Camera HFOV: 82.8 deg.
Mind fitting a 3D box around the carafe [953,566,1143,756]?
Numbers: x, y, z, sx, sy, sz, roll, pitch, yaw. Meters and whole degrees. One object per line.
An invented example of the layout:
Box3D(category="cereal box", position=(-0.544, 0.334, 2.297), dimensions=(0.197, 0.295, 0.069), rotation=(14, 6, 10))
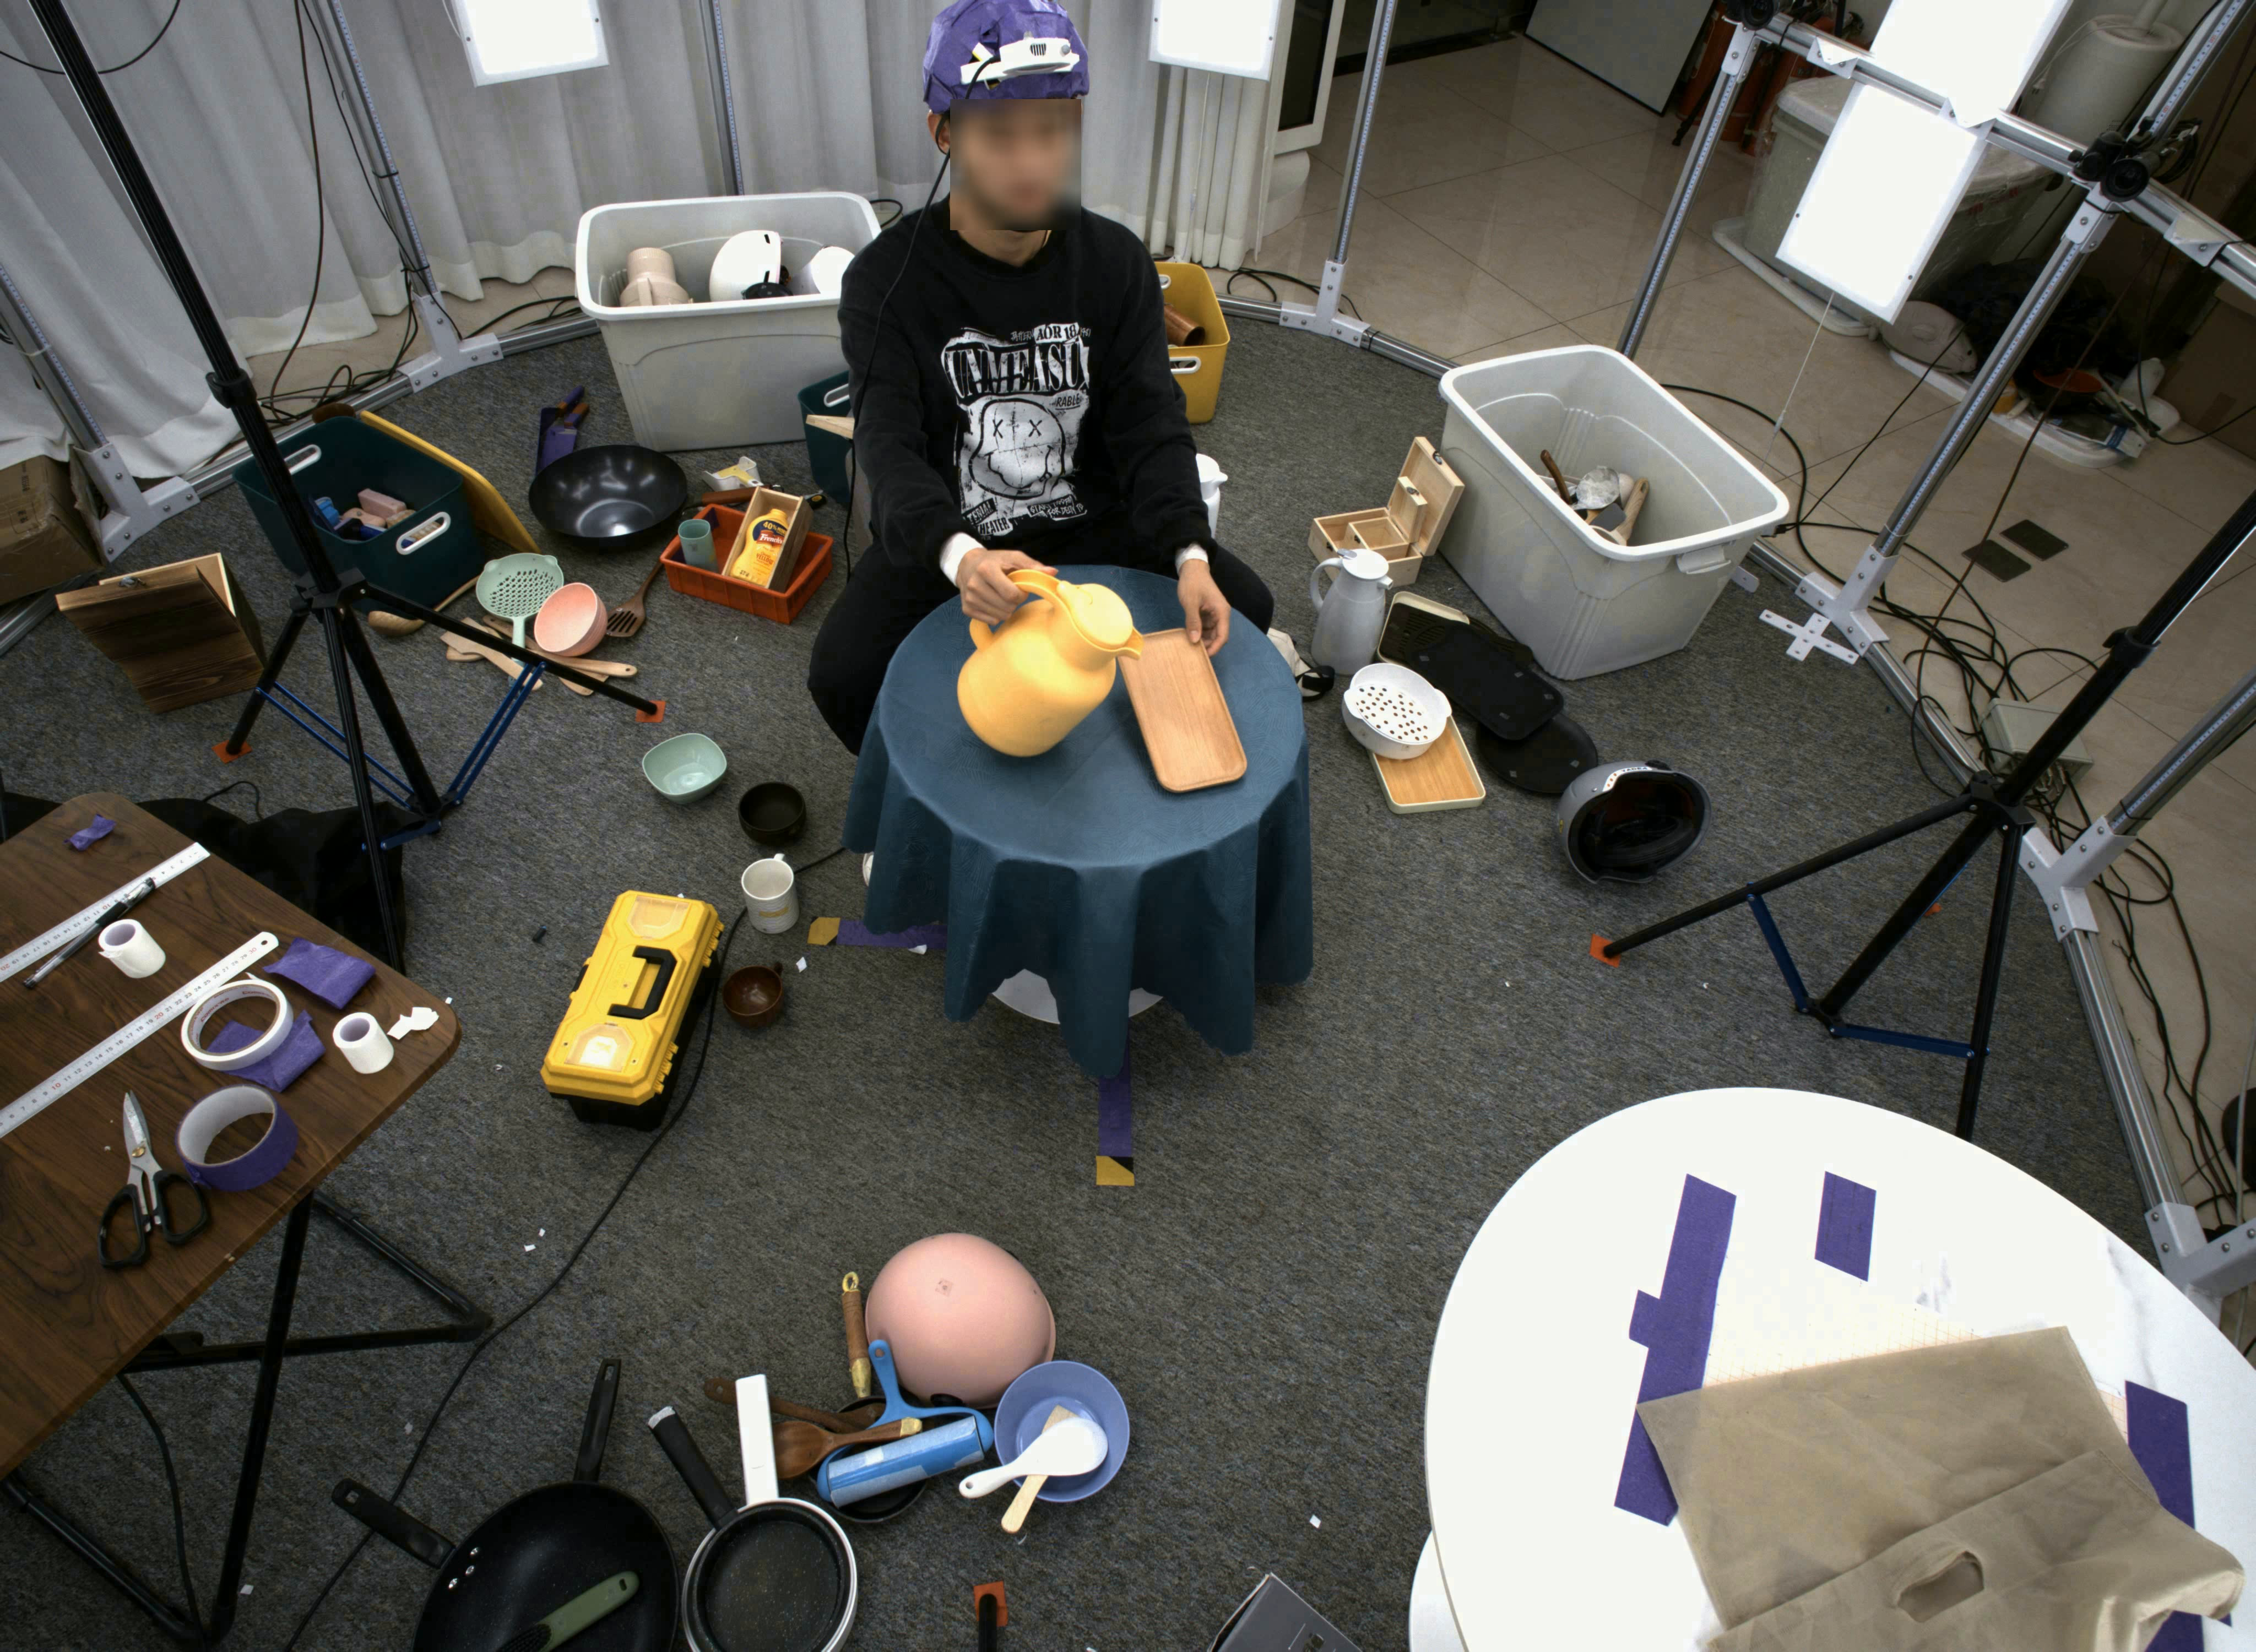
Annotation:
Box3D(category="carafe", position=(-0.116, -0.220, 1.644), dimensions=(0.200, 0.257, 0.167), rotation=(37, 45, -17))

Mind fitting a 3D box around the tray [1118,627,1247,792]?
Box3D(category="tray", position=(0.072, -0.163, 1.766), dimensions=(0.130, 0.022, 0.256), rotation=(-10, 63, -14))
